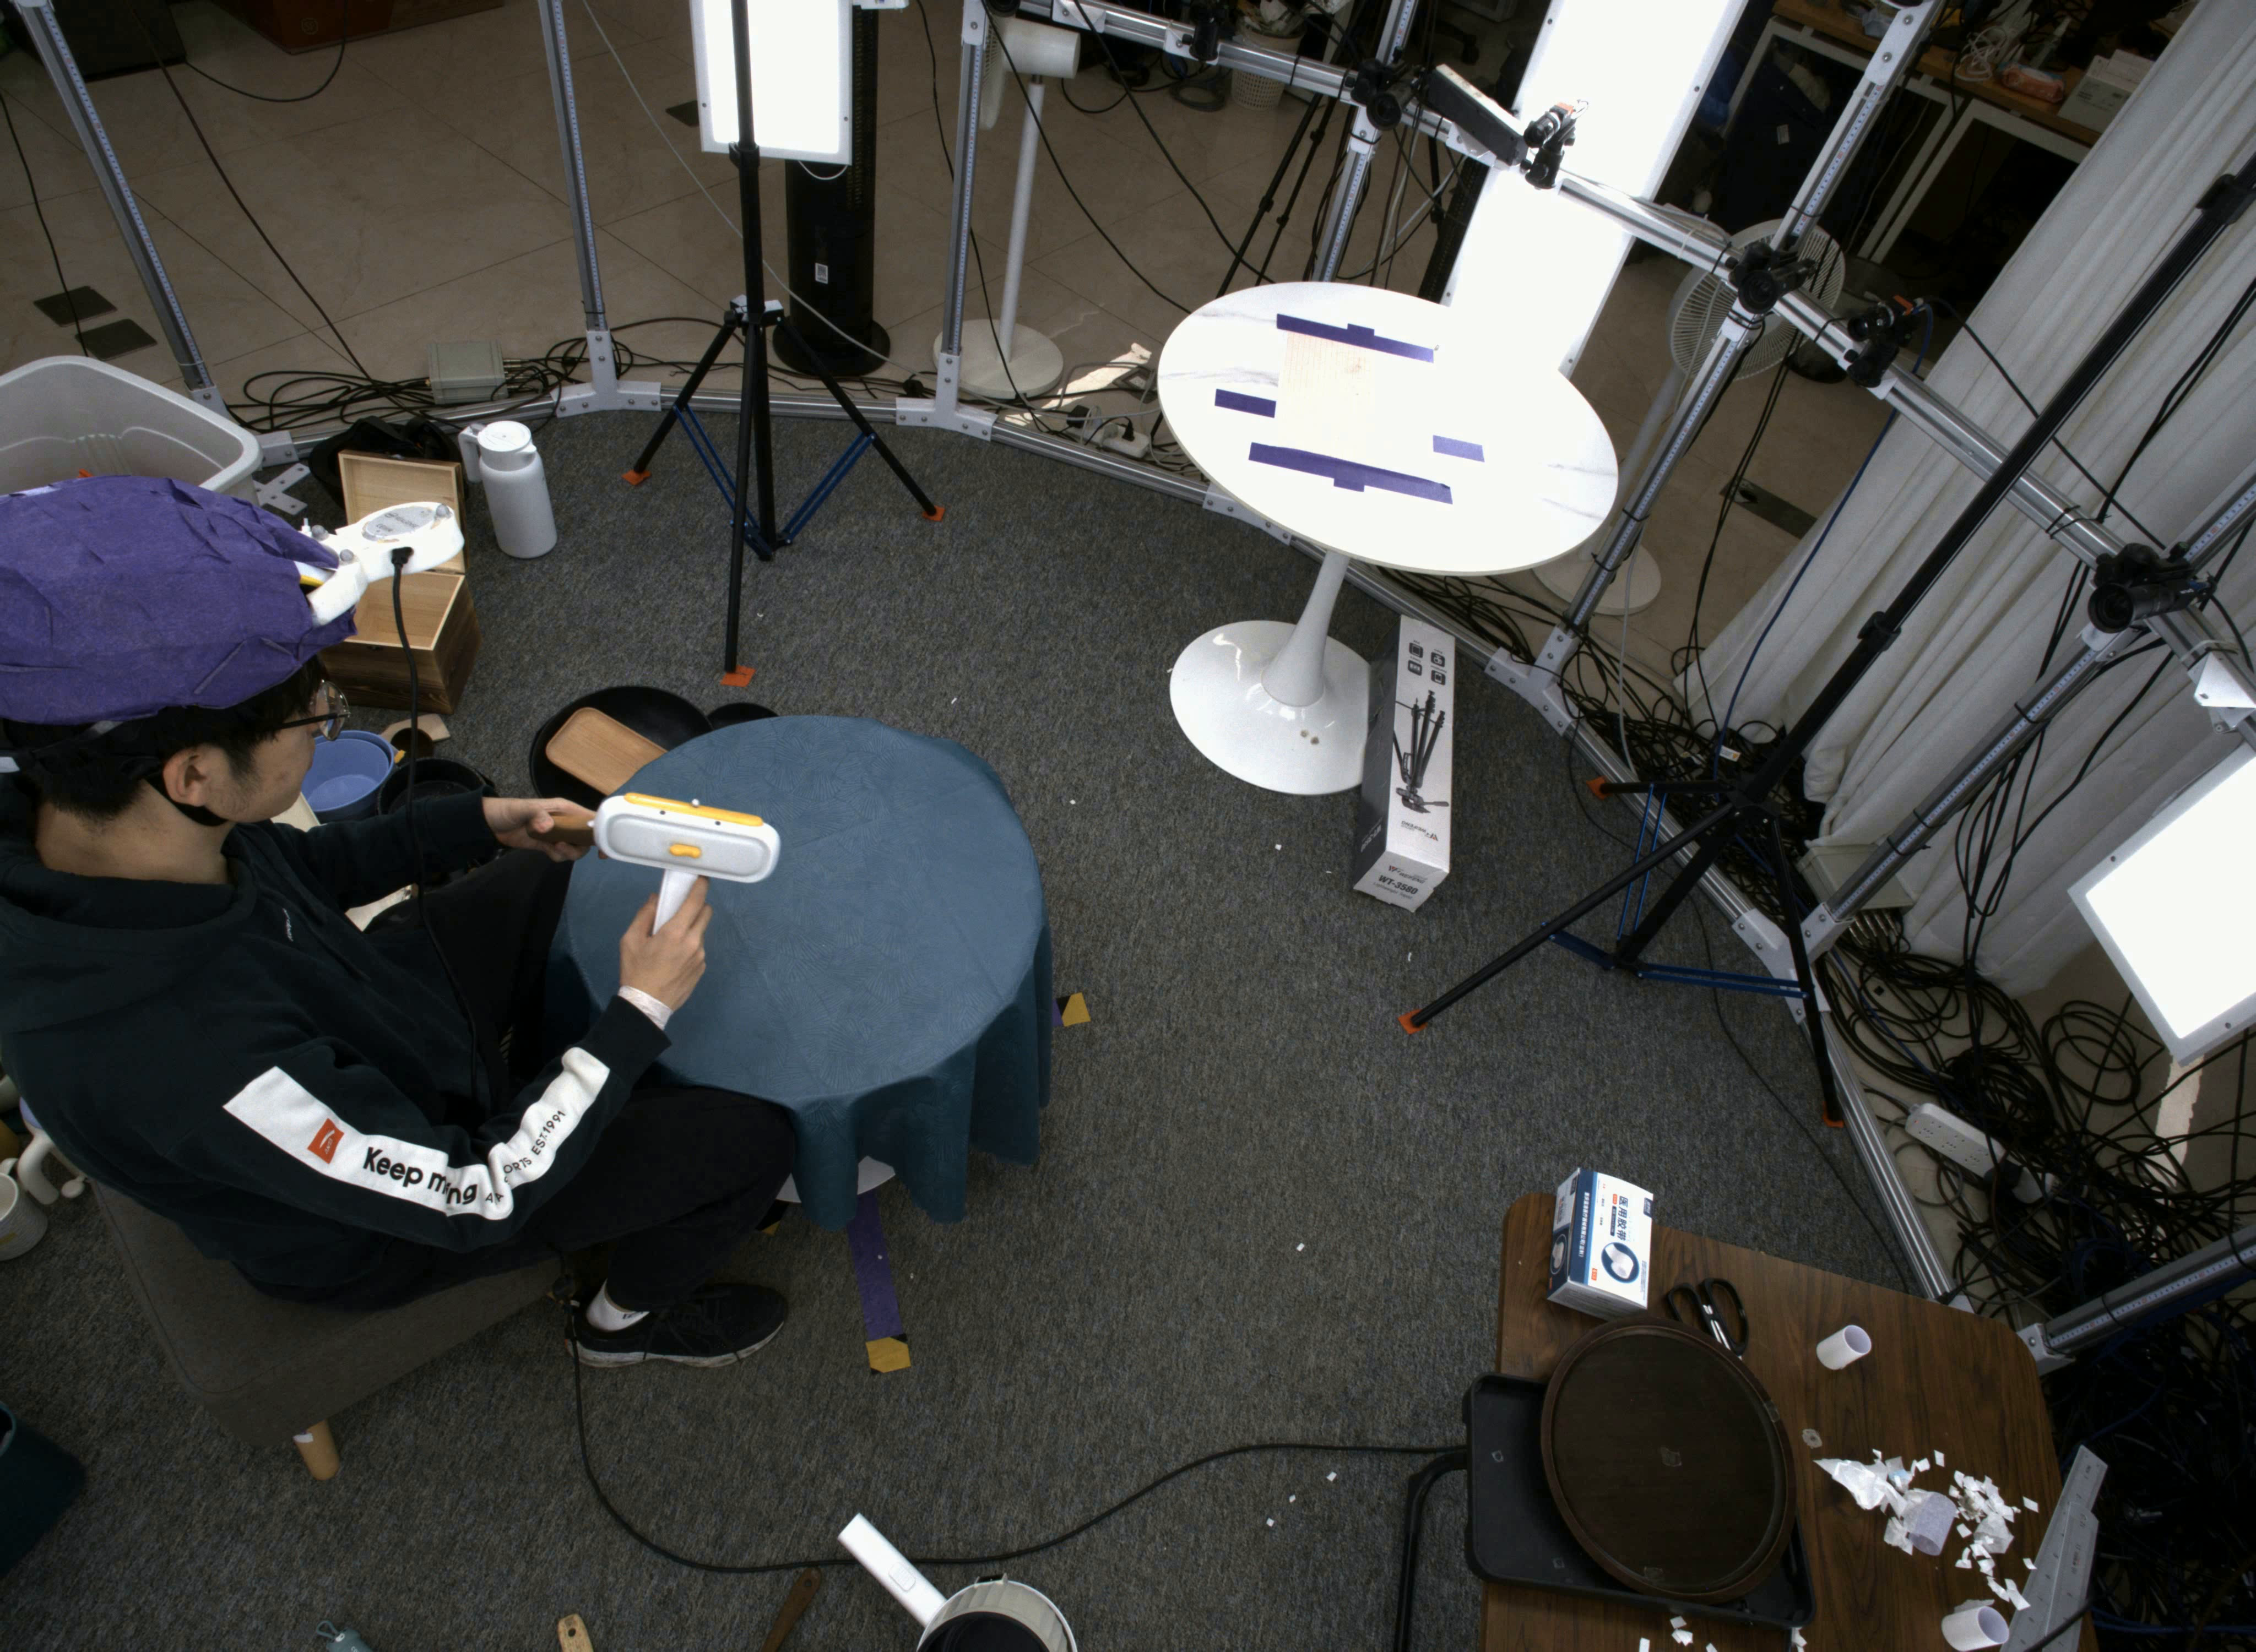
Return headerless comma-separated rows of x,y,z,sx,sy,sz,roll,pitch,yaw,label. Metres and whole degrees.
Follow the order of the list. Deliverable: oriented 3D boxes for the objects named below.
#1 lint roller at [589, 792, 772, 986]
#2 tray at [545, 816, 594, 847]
-0.483,0.068,1.369,0.195,0.196,0.072,7,11,-26,lint roller
-0.558,0.005,1.445,0.230,0.102,0.020,2,79,-6,tray
